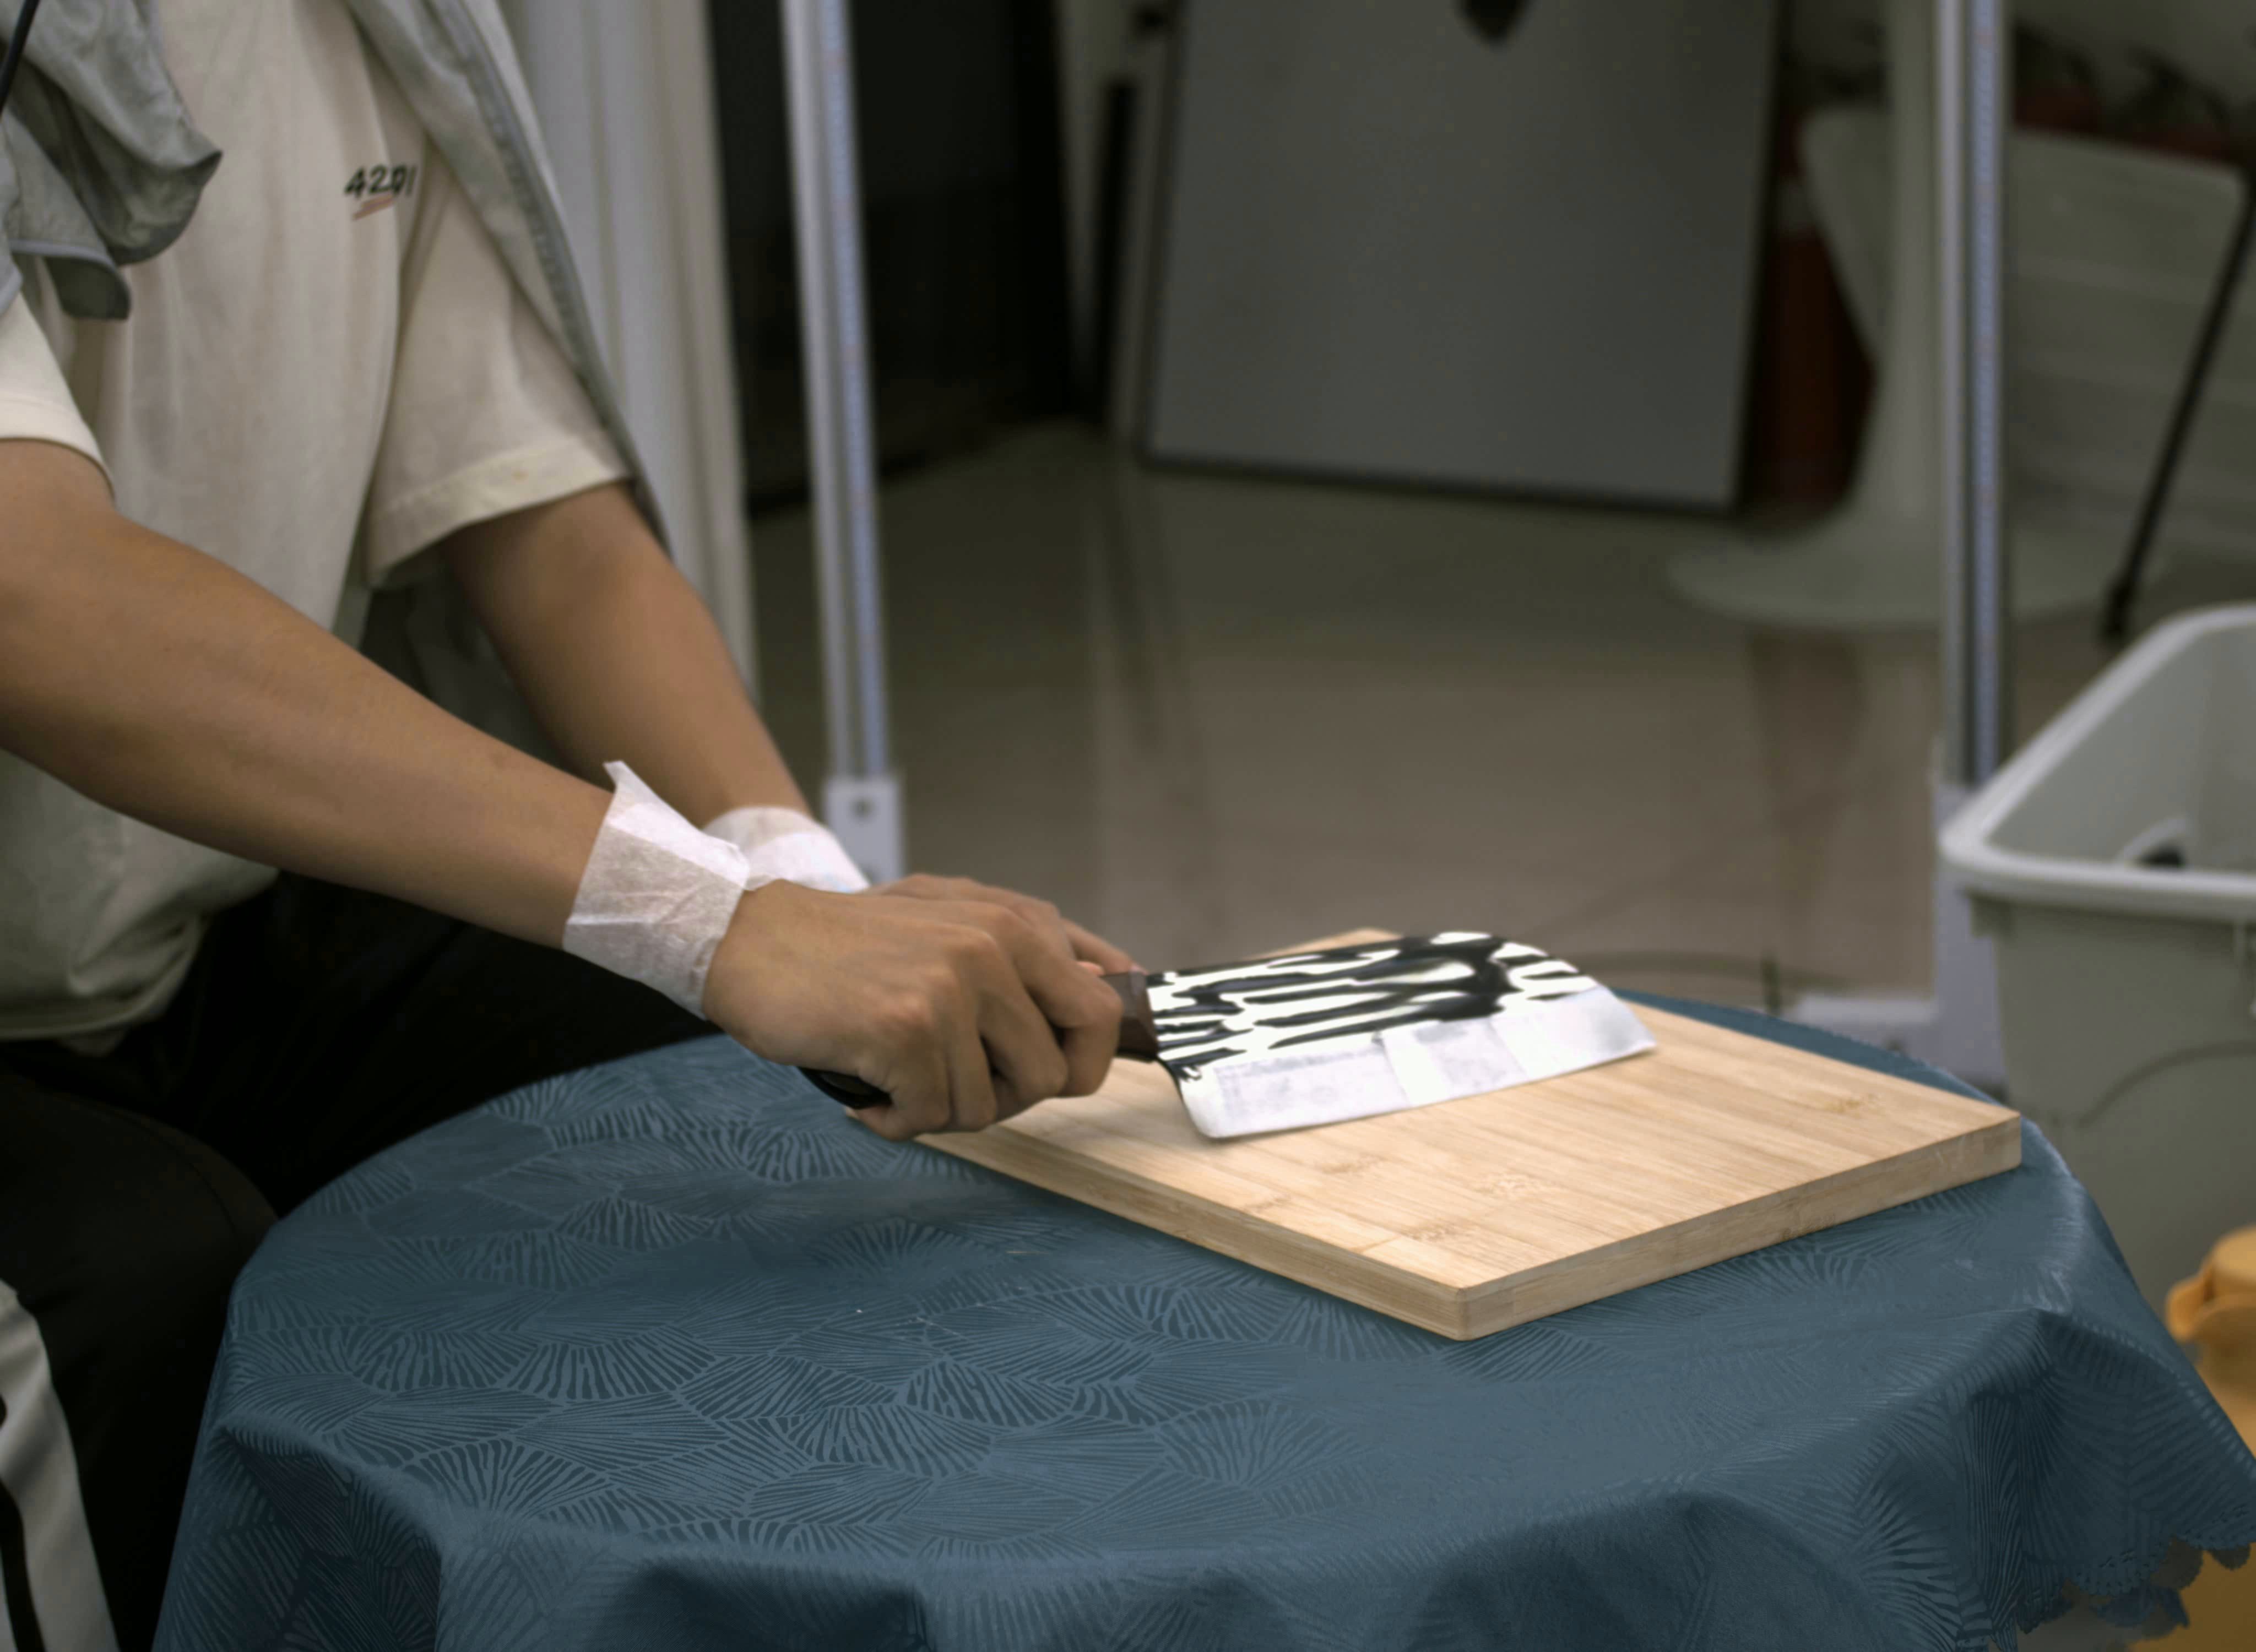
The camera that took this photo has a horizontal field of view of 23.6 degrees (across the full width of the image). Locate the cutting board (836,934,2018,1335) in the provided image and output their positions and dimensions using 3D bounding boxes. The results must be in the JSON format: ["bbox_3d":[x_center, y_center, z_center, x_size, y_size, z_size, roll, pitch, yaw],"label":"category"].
[{"bbox_3d":[0.093,0.098,1.811,0.245,0.024,0.352,-13,16,-35],"label":"cutting board"}]

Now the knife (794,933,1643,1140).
[{"bbox_3d":[0.035,0.073,1.781,0.293,0.024,0.069,-7,54,-23],"label":"knife"}]
